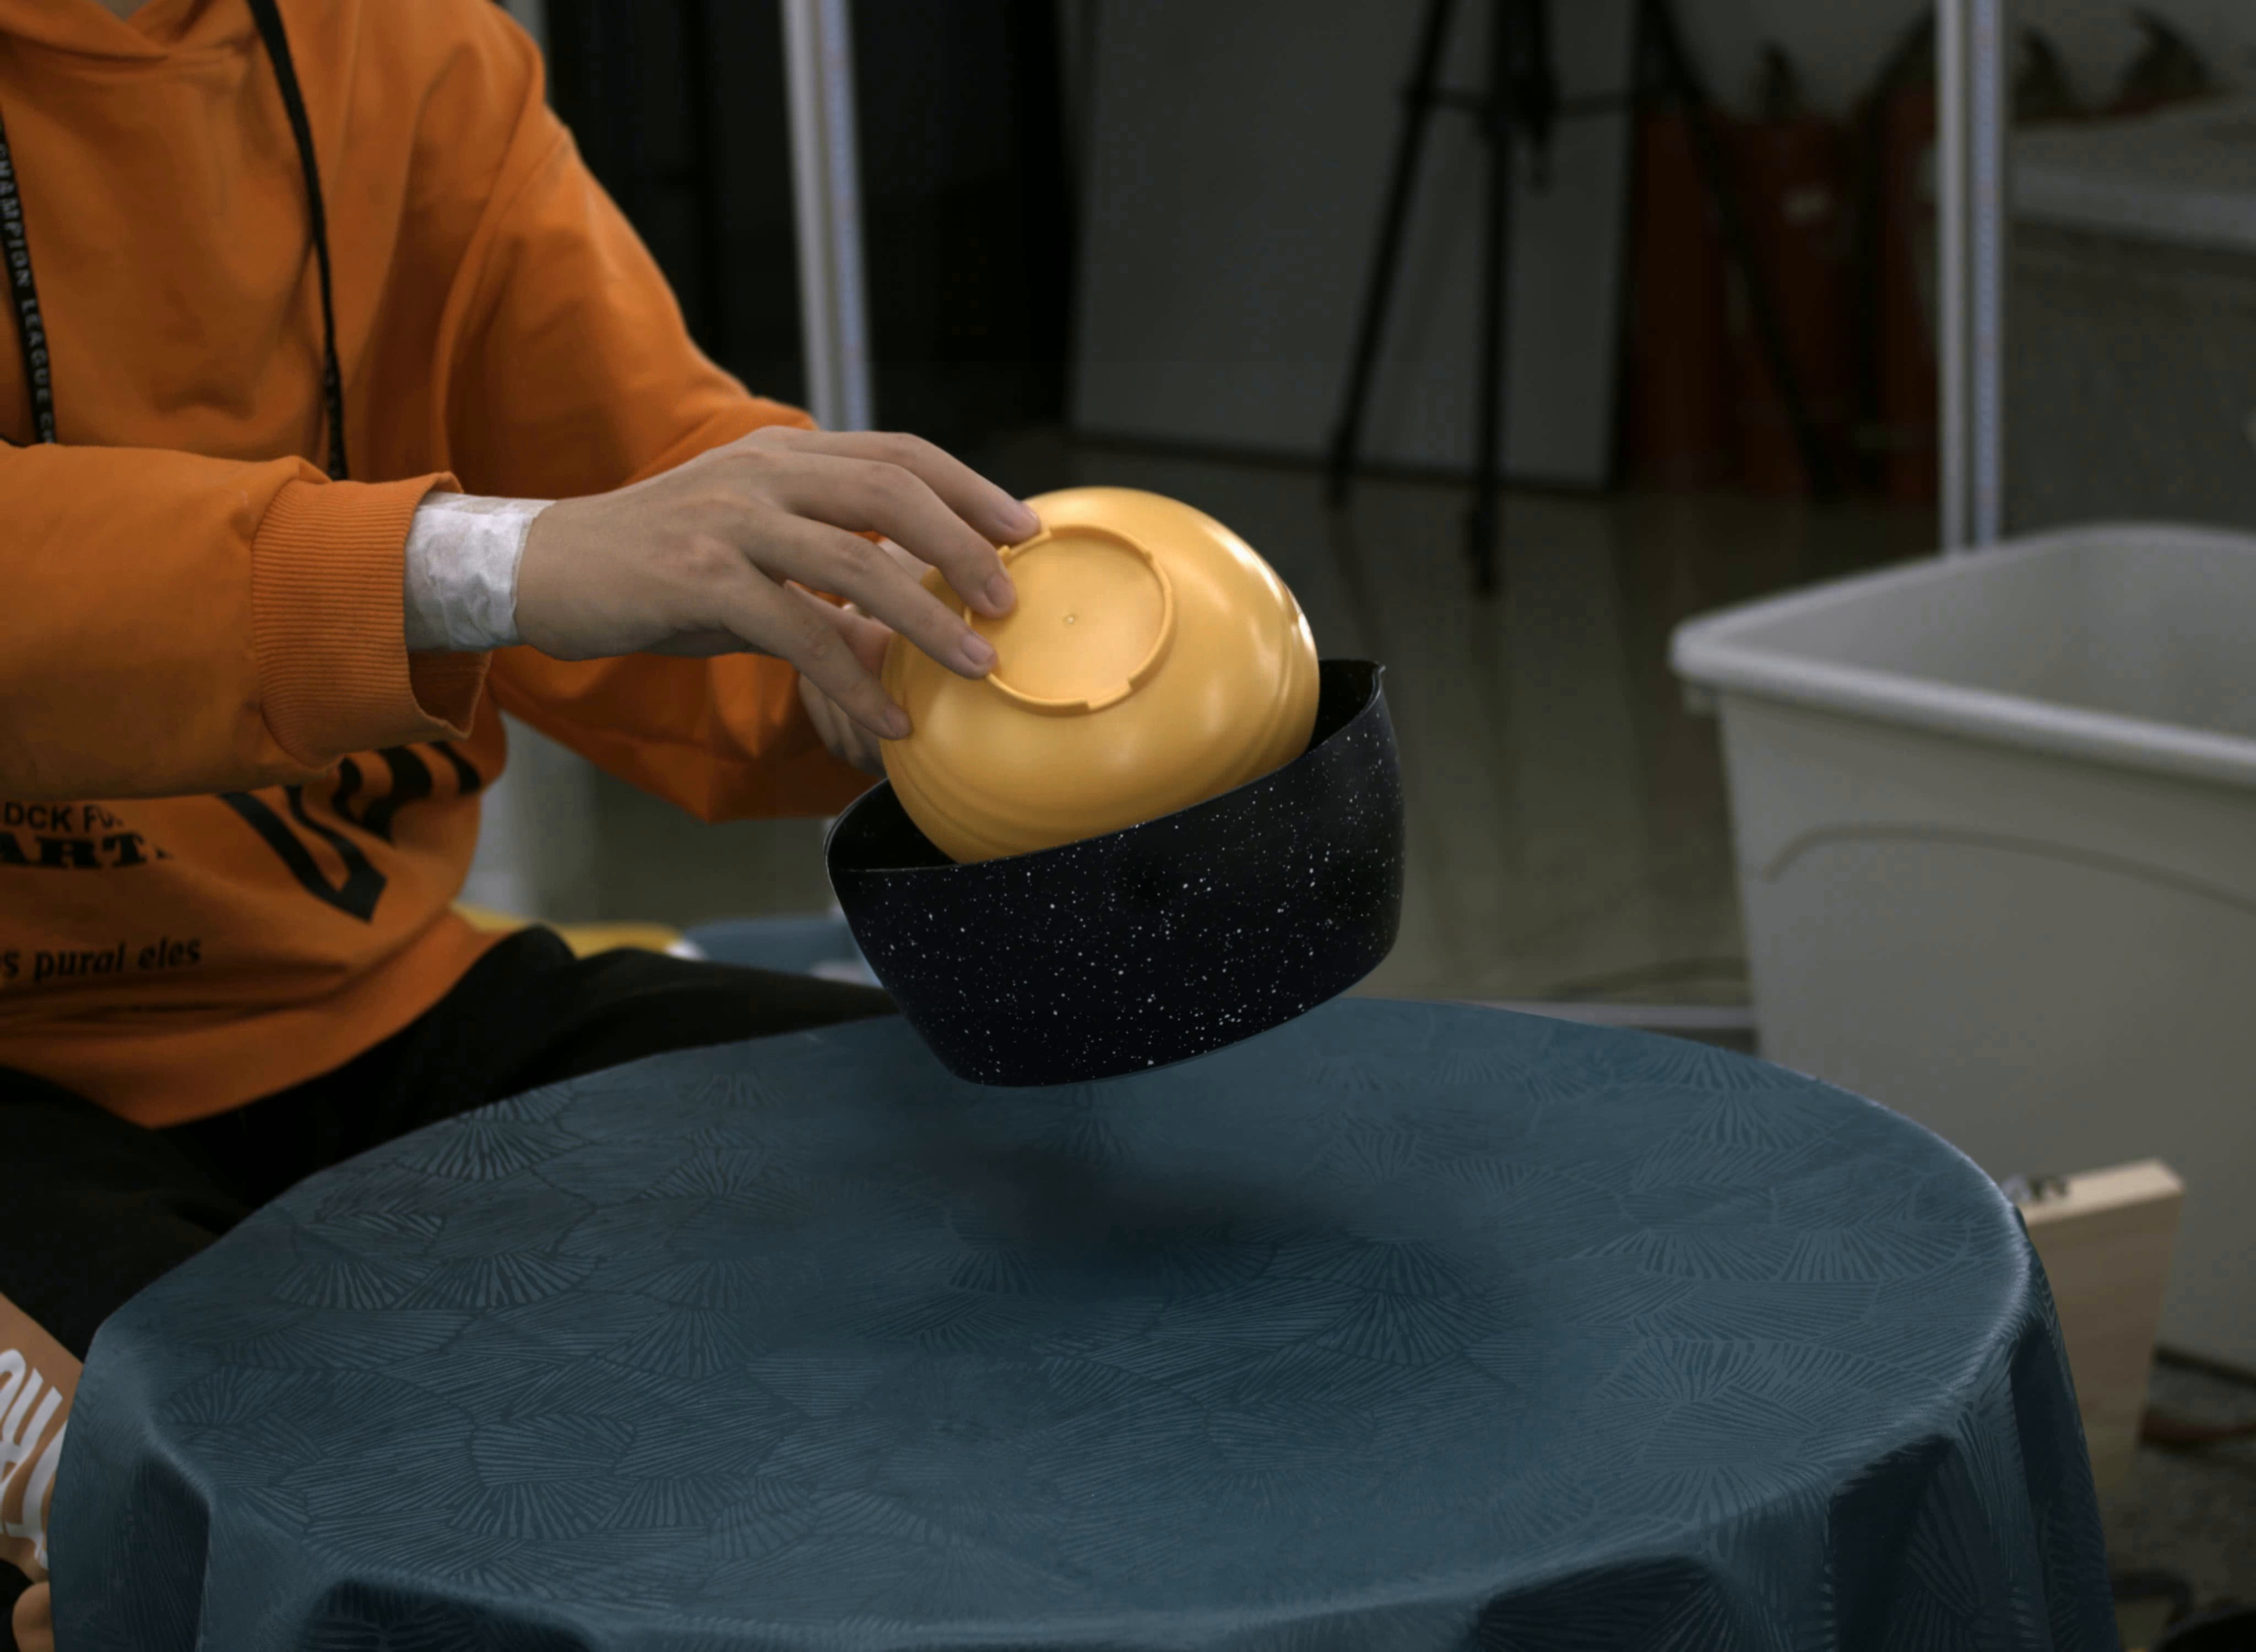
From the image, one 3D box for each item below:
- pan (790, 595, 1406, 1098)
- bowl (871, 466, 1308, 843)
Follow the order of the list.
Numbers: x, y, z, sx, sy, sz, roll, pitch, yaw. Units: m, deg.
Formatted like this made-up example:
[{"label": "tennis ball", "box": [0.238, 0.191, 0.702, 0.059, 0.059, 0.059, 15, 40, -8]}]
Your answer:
[{"label": "pan", "box": [-0.029, -0.005, 1.783, 0.204, 0.109, 0.346, -23, 16, -16]}, {"label": "bowl", "box": [-0.017, -0.059, 1.697, 0.144, 0.147, 0.060, -1, -28, 12]}]
